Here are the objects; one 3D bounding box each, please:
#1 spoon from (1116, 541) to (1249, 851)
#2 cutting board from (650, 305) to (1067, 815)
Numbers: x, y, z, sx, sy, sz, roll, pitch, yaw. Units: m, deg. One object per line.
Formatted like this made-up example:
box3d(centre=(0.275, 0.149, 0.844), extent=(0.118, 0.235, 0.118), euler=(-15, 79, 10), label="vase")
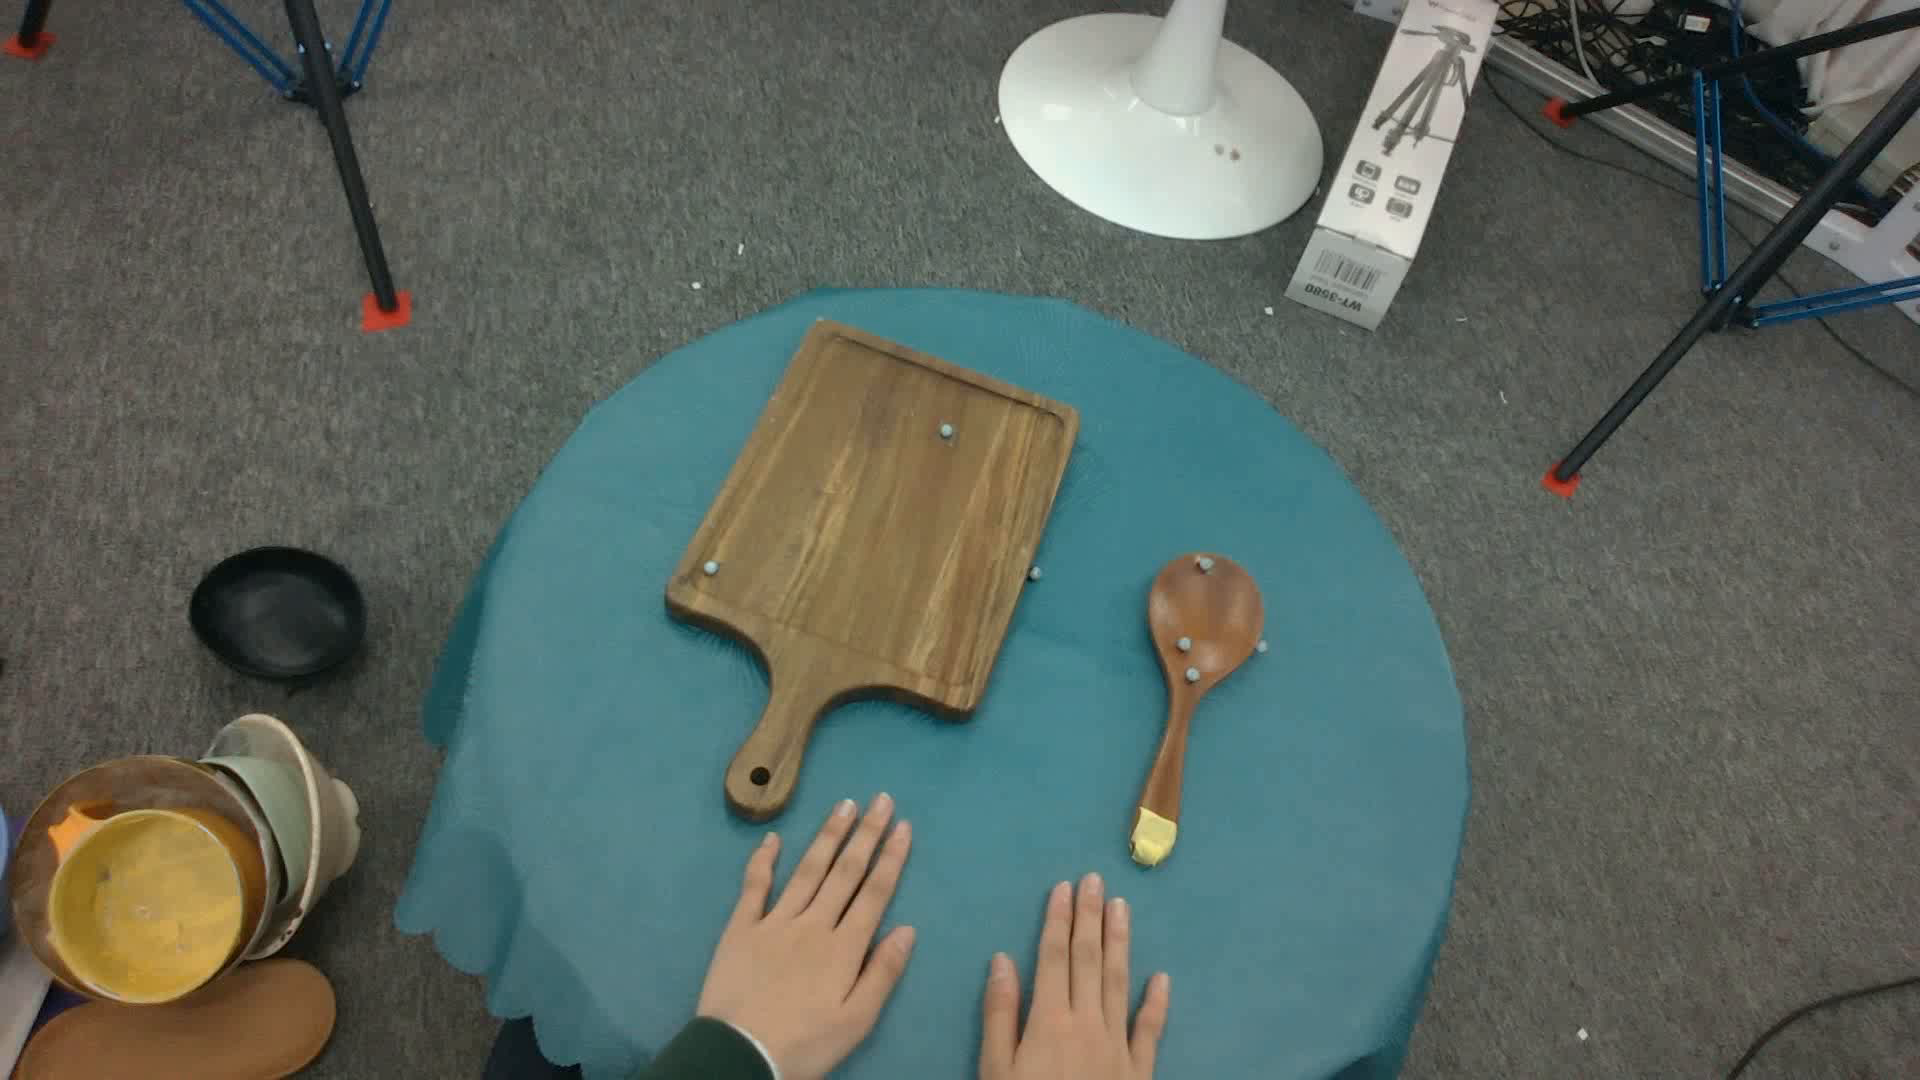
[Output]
box3d(centre=(0.127, 0.089, 0.827), extent=(0.075, 0.017, 0.217), euler=(21, 54, -1), label="spoon")
box3d(centre=(-0.069, 0.008, 0.840), extent=(0.201, 0.023, 0.354), euler=(21, 55, 1), label="cutting board")
